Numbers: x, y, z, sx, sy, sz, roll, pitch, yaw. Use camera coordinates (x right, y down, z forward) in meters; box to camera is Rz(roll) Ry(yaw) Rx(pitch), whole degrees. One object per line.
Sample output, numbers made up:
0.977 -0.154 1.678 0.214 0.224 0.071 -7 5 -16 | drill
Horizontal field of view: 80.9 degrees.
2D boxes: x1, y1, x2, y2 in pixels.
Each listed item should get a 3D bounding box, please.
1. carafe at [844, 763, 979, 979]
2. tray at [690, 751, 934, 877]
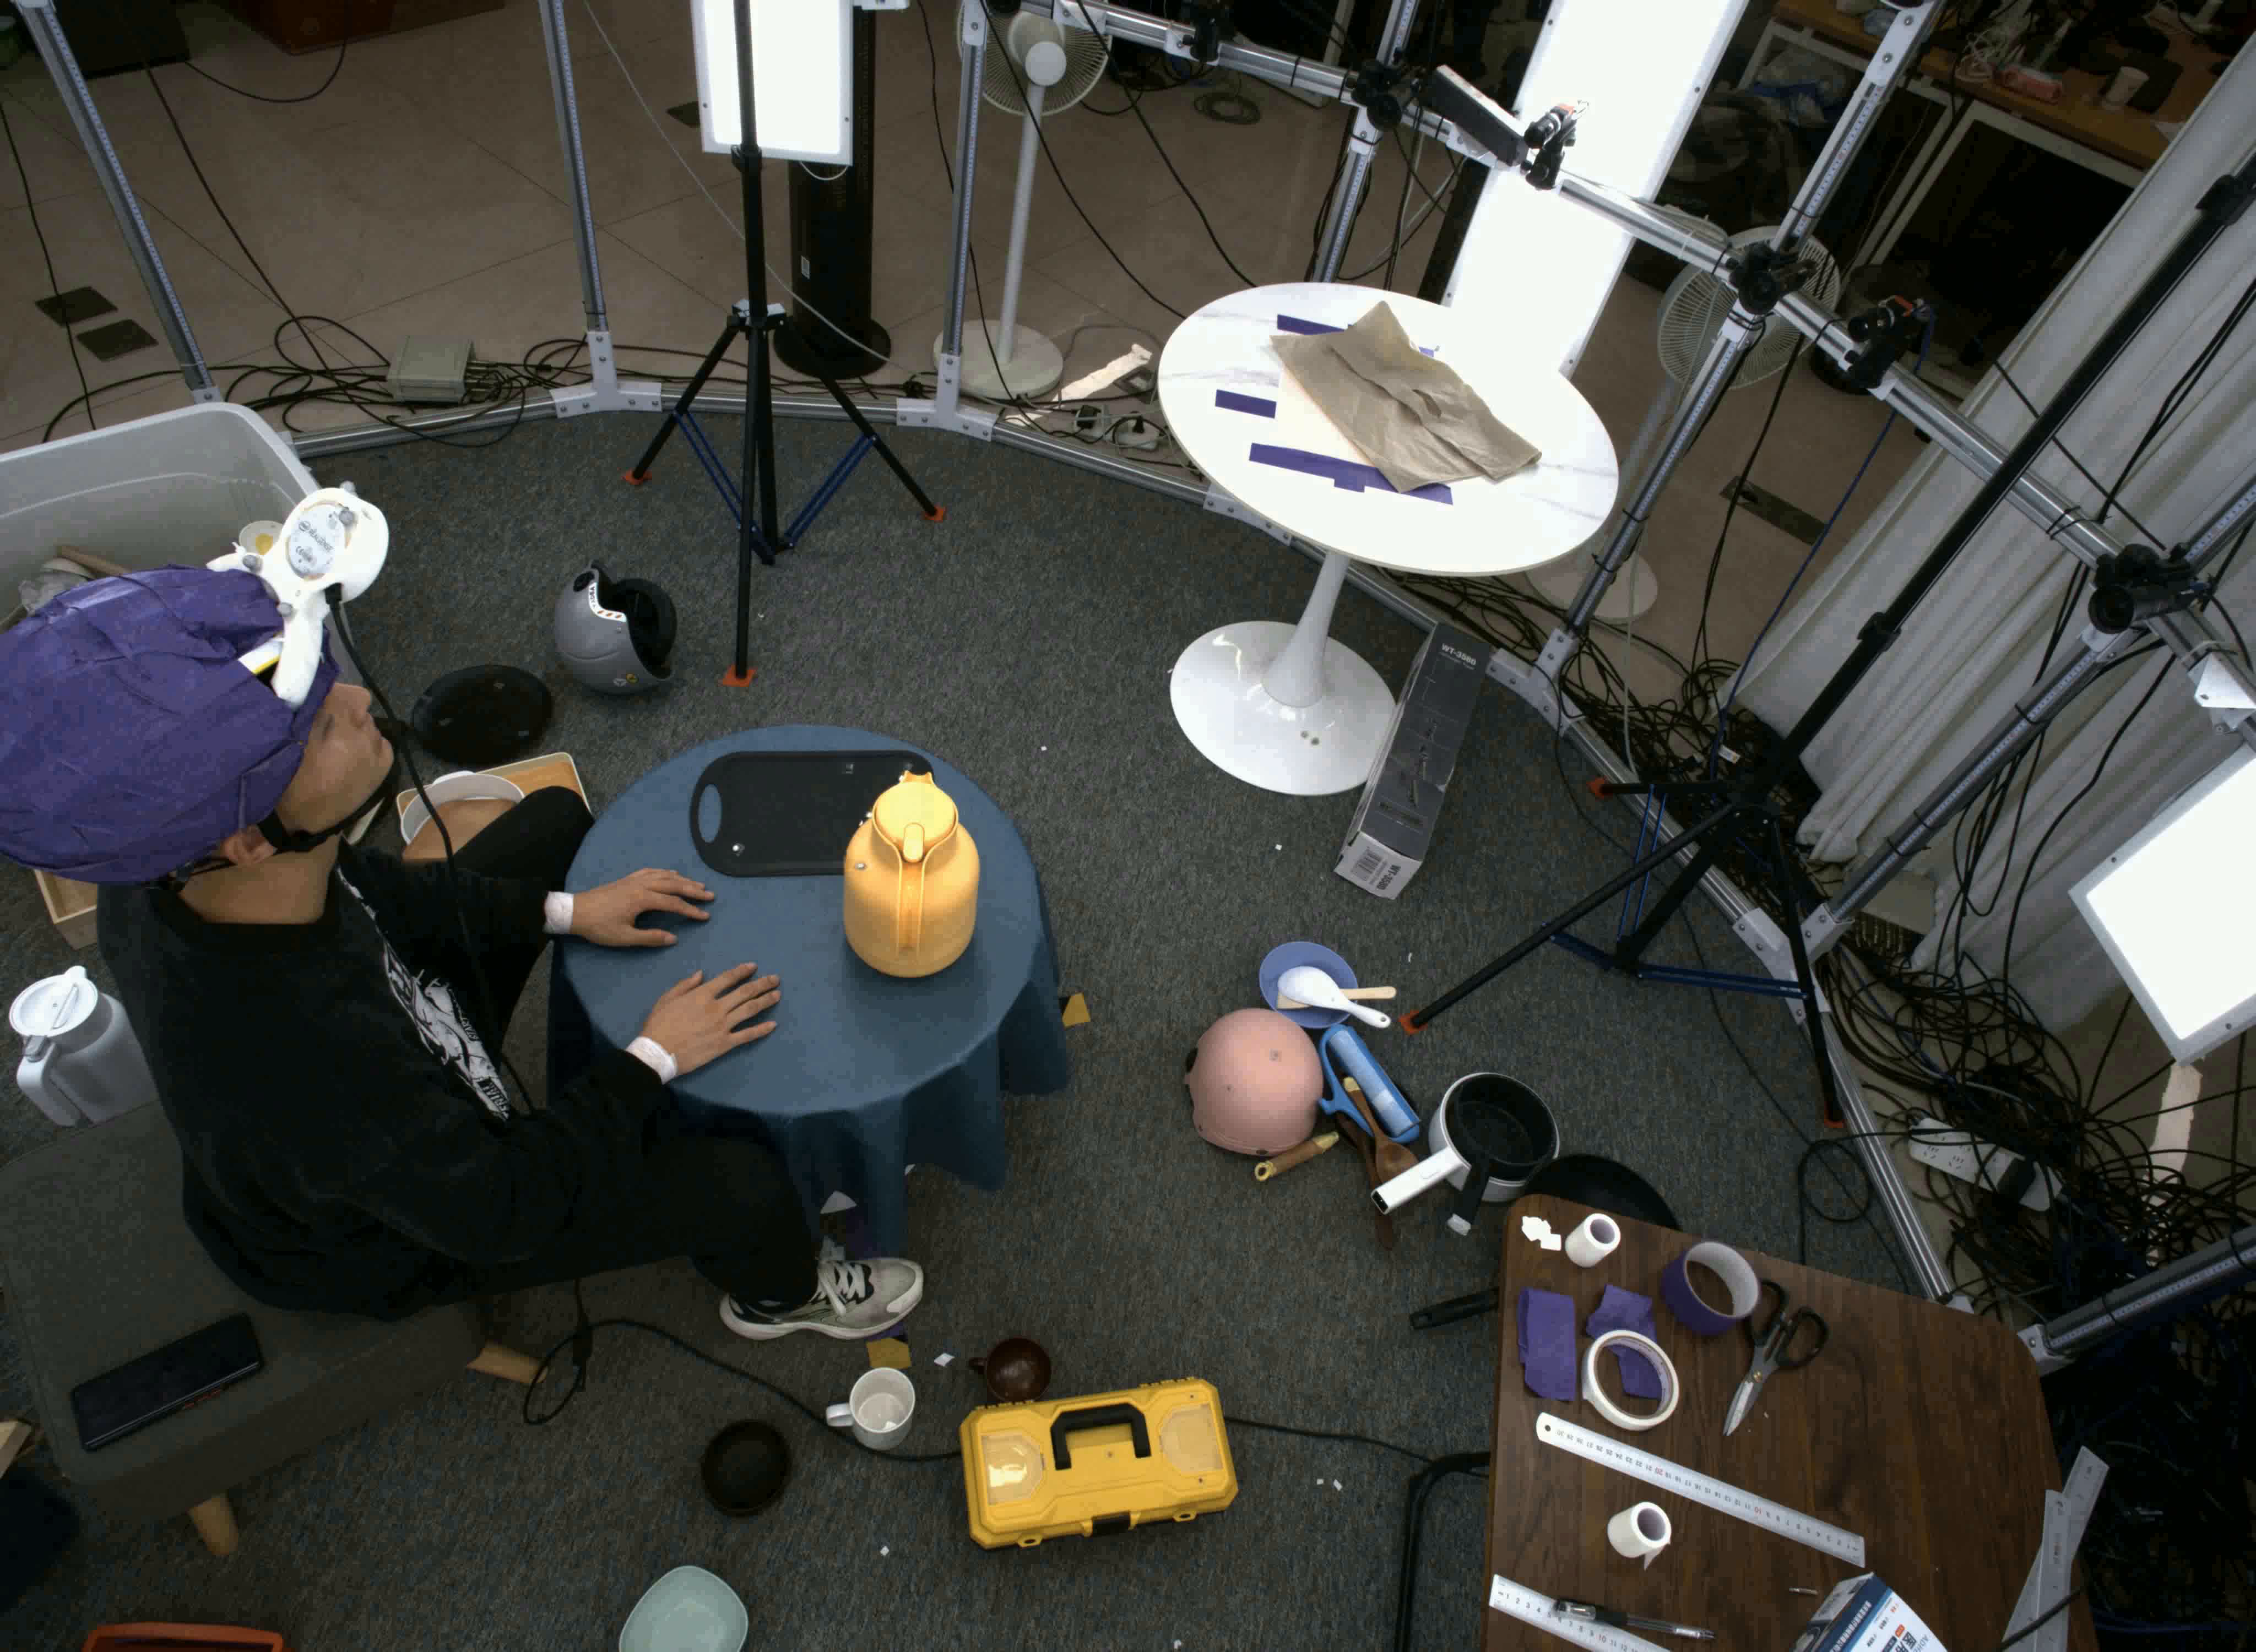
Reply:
-0.260 0.068 1.543 0.163 0.267 0.198 3 50 -6 | carafe
-0.419 -0.022 1.735 0.326 0.010 0.206 -1 54 -15 | tray
